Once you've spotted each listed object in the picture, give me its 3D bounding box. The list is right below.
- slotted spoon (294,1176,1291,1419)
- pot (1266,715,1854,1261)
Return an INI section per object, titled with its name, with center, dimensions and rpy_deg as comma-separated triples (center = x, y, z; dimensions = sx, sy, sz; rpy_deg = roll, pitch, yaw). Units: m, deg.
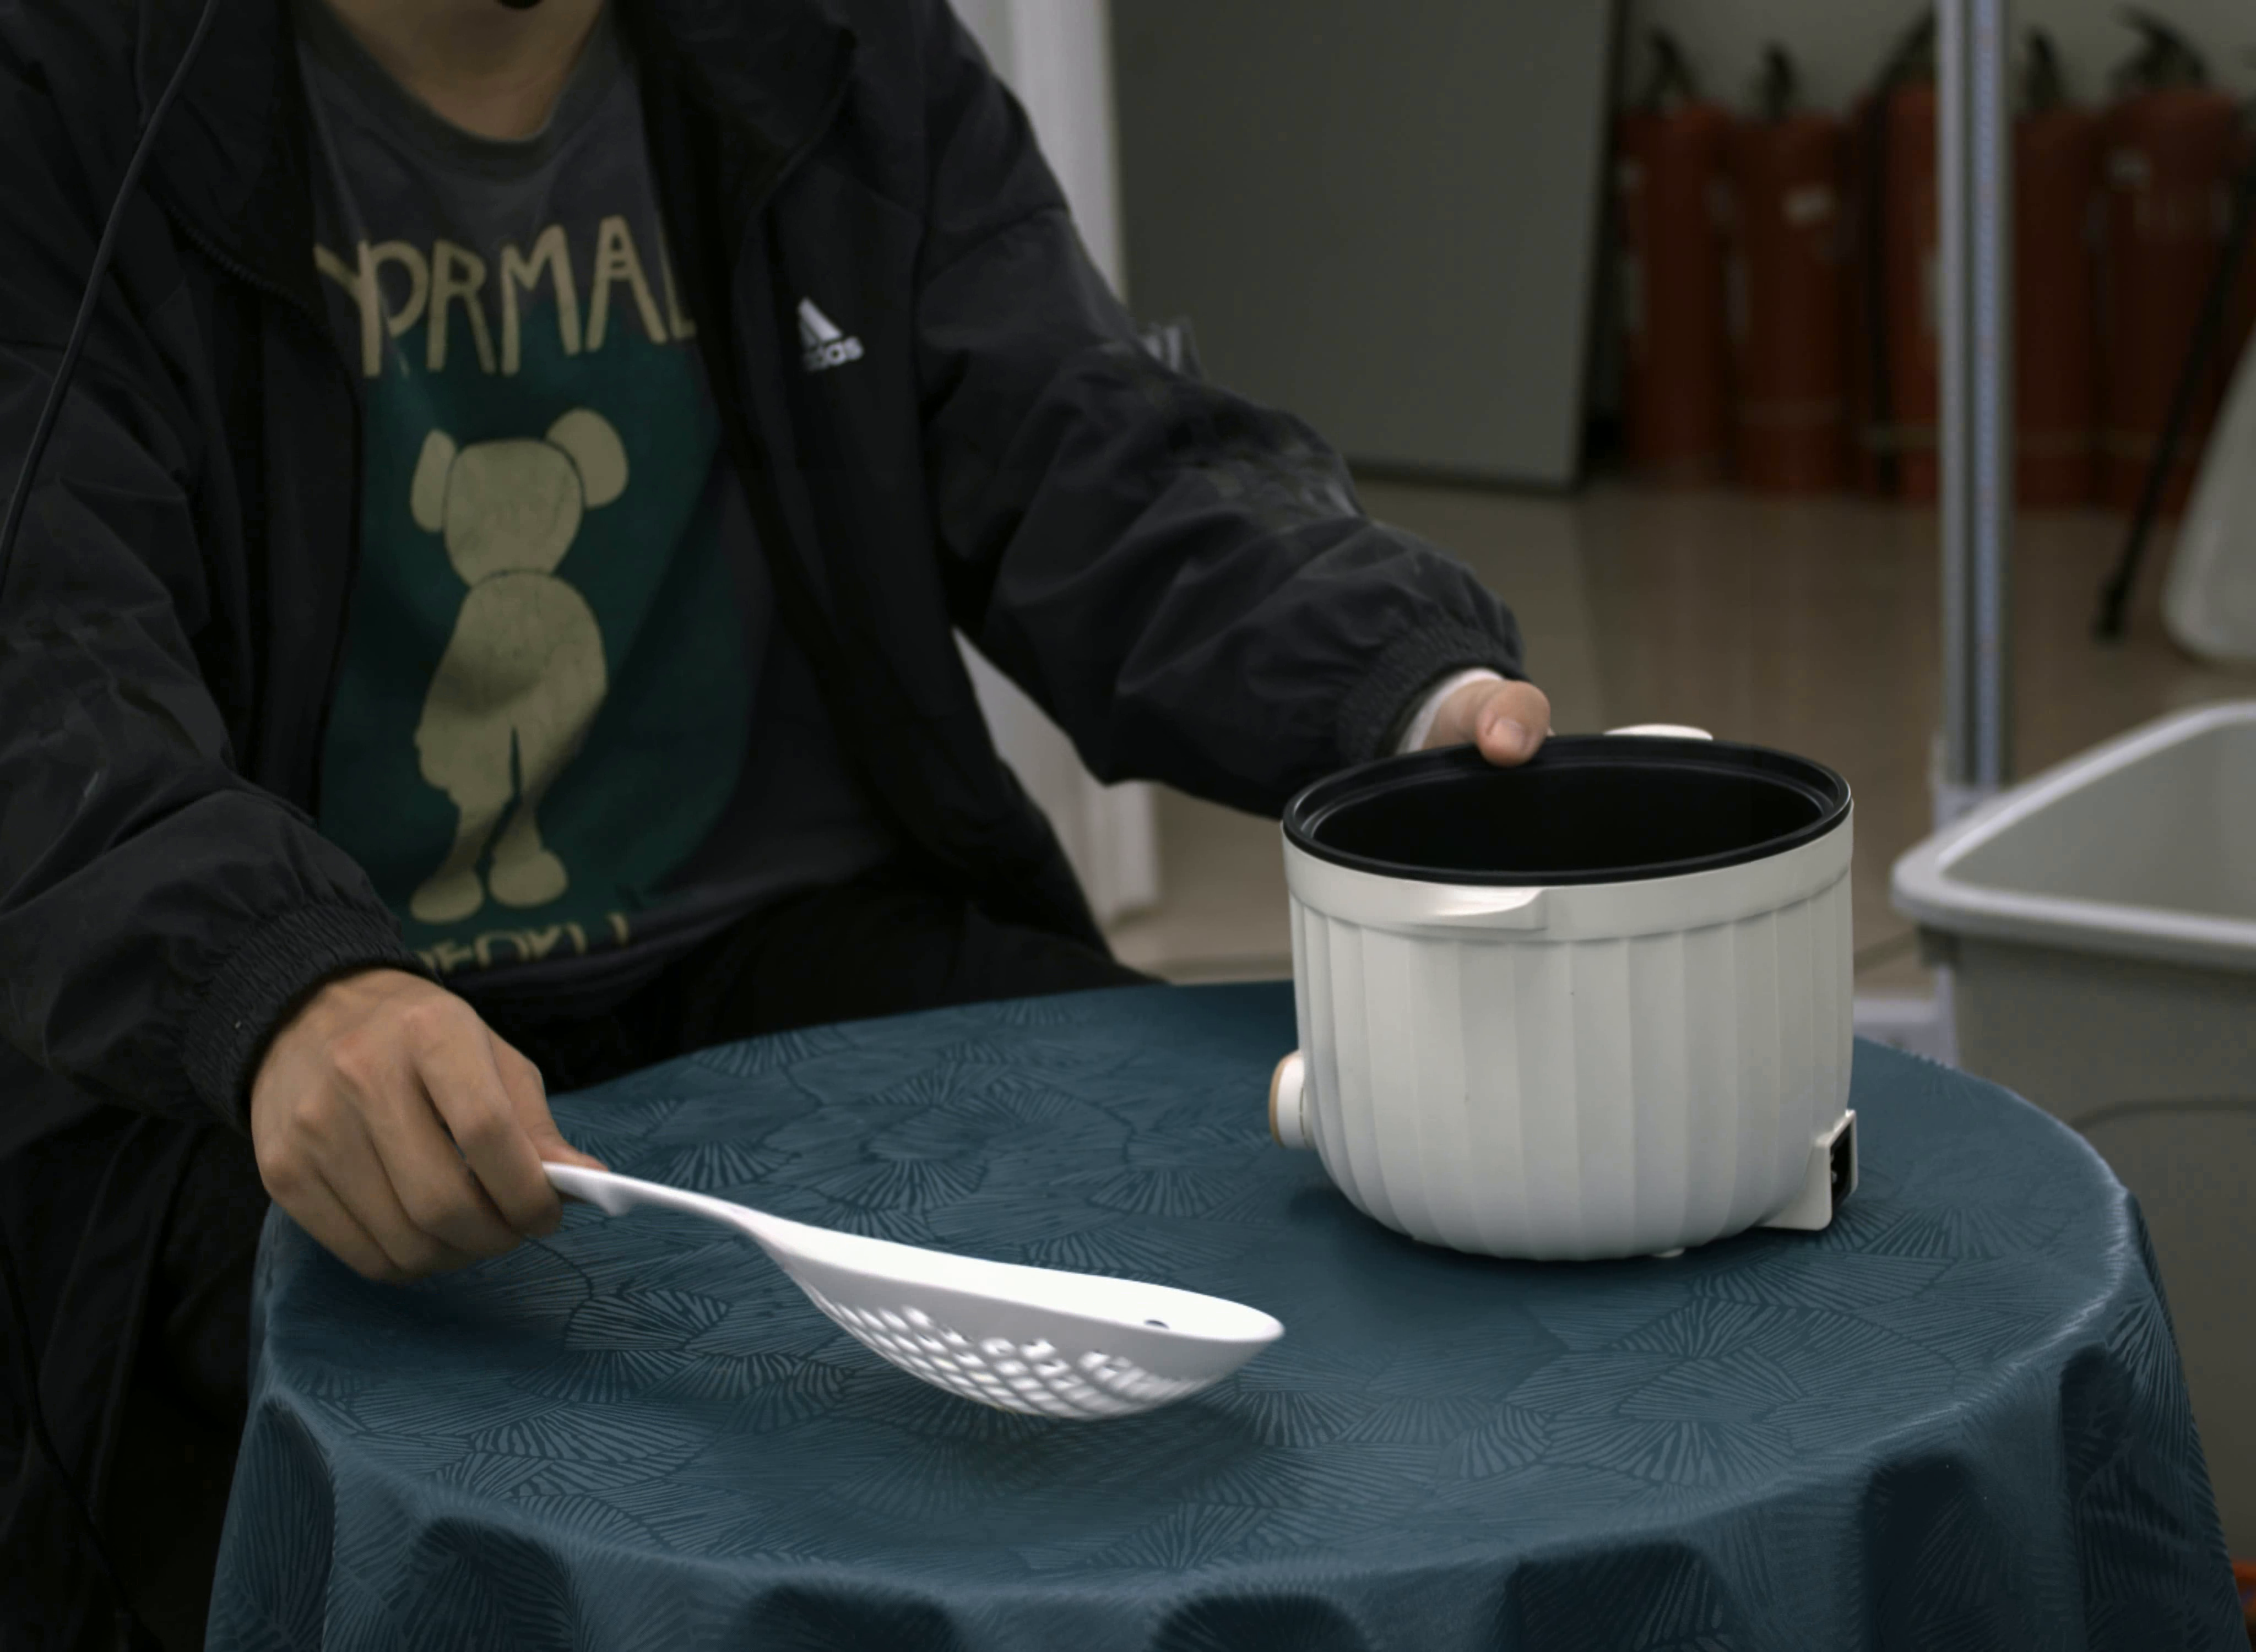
[slotted spoon]
center = -0.111, 0.128, 1.603
dimensions = 0.350, 0.051, 0.134
rpy_deg = 13, 3, 36
[pot]
center = 0.136, 0.054, 1.711
dimensions = 0.190, 0.144, 0.238
rpy_deg = 5, 15, 21
